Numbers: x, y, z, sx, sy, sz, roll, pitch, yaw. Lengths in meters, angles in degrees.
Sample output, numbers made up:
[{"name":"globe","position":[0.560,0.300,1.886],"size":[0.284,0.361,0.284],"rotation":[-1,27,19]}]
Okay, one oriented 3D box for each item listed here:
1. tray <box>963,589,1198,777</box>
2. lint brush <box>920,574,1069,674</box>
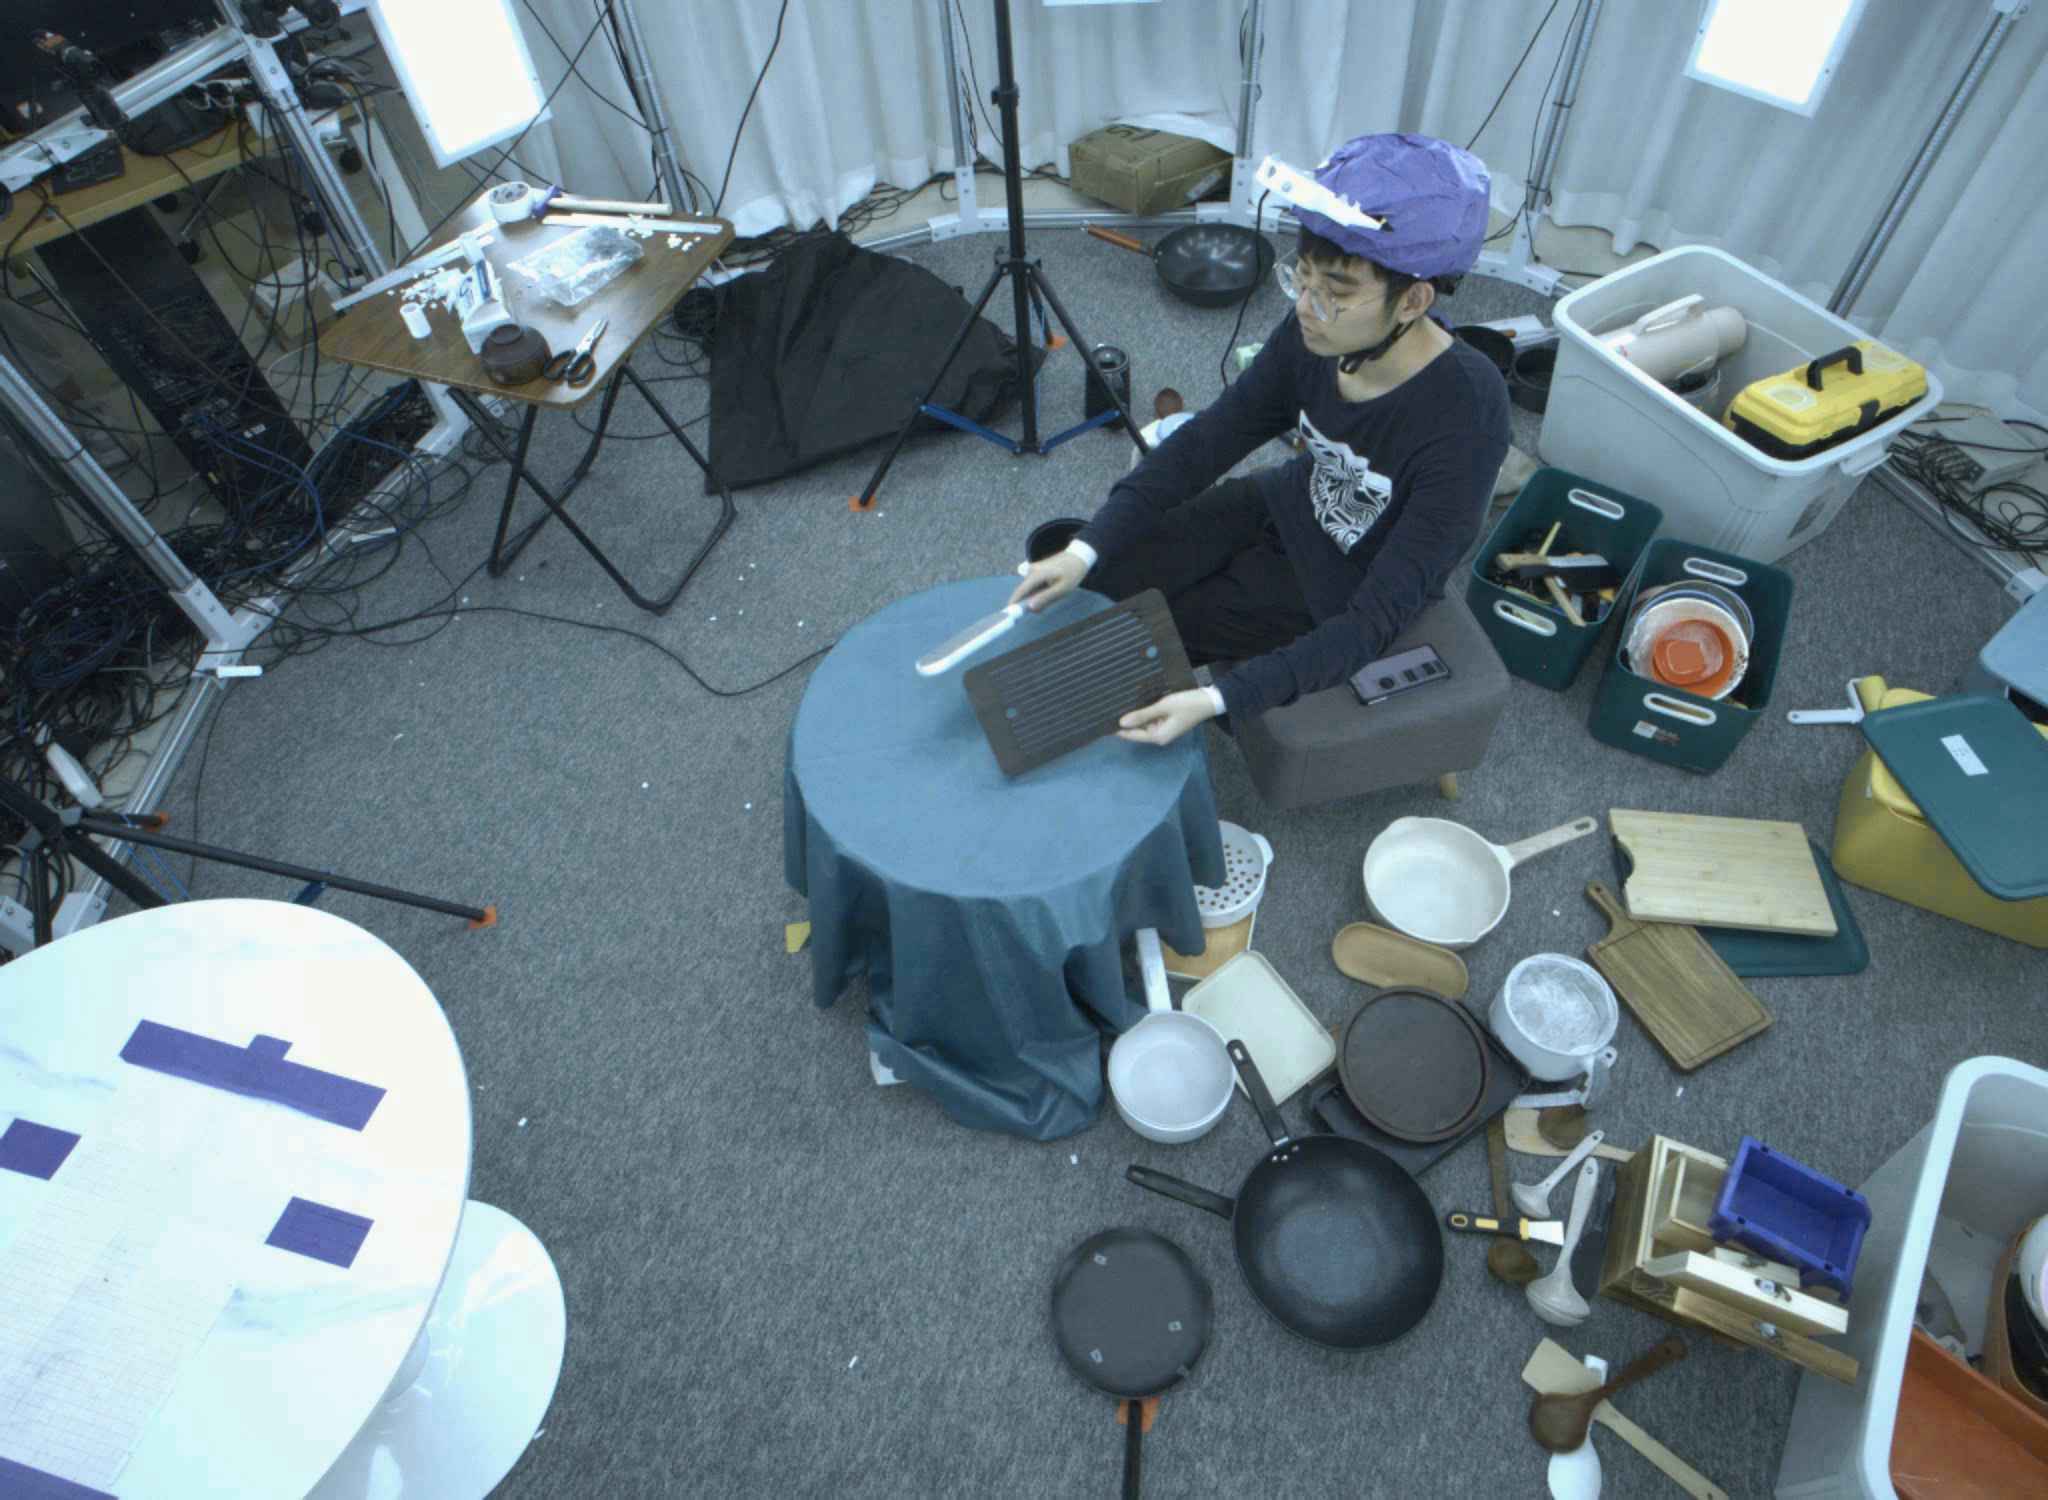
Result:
[{"name":"tray","position":[0.081,-0.094,1.737],"size":[0.306,0.172,0.018],"rotation":[-24,20,-1]},{"name":"lint brush","position":[-0.037,-0.190,1.822],"size":[0.059,0.021,0.312],"rotation":[5,34,48]}]
